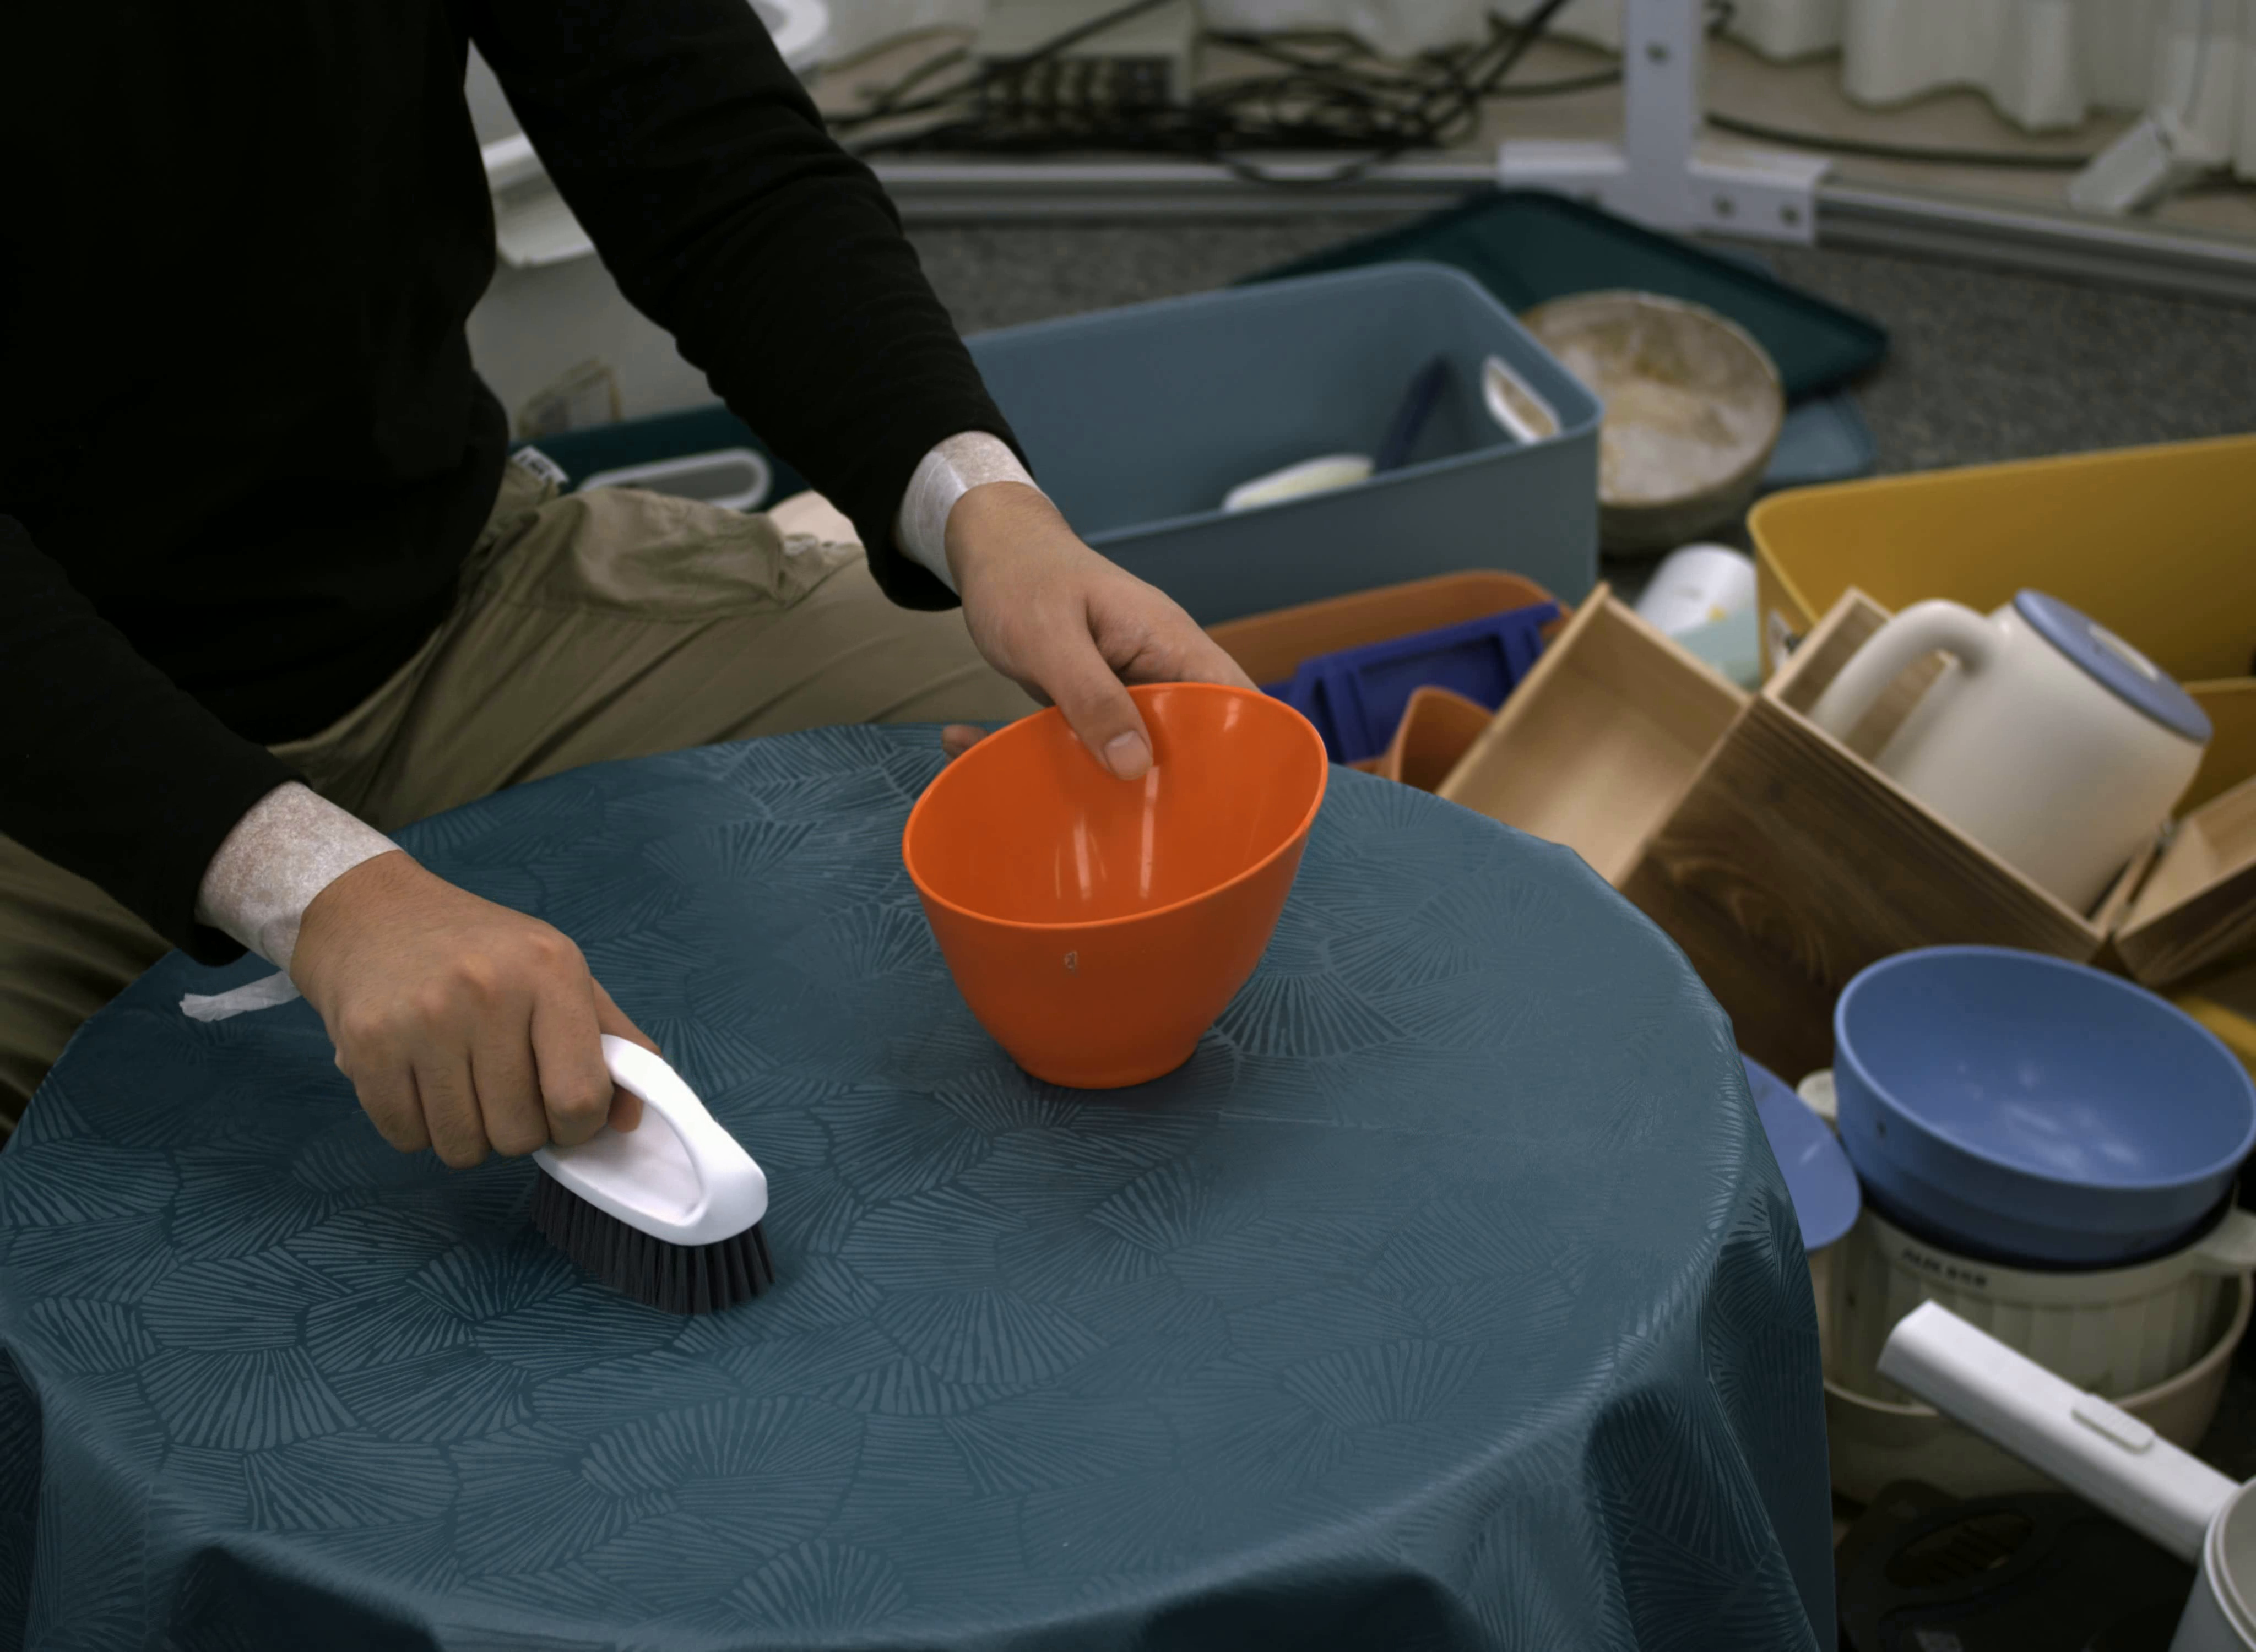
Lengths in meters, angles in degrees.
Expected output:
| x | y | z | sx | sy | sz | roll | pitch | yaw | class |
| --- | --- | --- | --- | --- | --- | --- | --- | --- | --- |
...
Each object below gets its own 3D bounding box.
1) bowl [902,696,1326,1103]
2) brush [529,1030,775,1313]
| x | y | z | sx | sy | sz | roll | pitch | yaw | class |
| --- | --- | --- | --- | --- | --- | --- | --- | --- | --- |
| -0.001 | 0.031 | 1.932 | 0.147 | 0.103 | 0.150 | -4 | 26 | 2 | bowl |
| -0.158 | 0.106 | 1.826 | 0.051 | 0.071 | 0.099 | -24 | 35 | -33 | brush |
